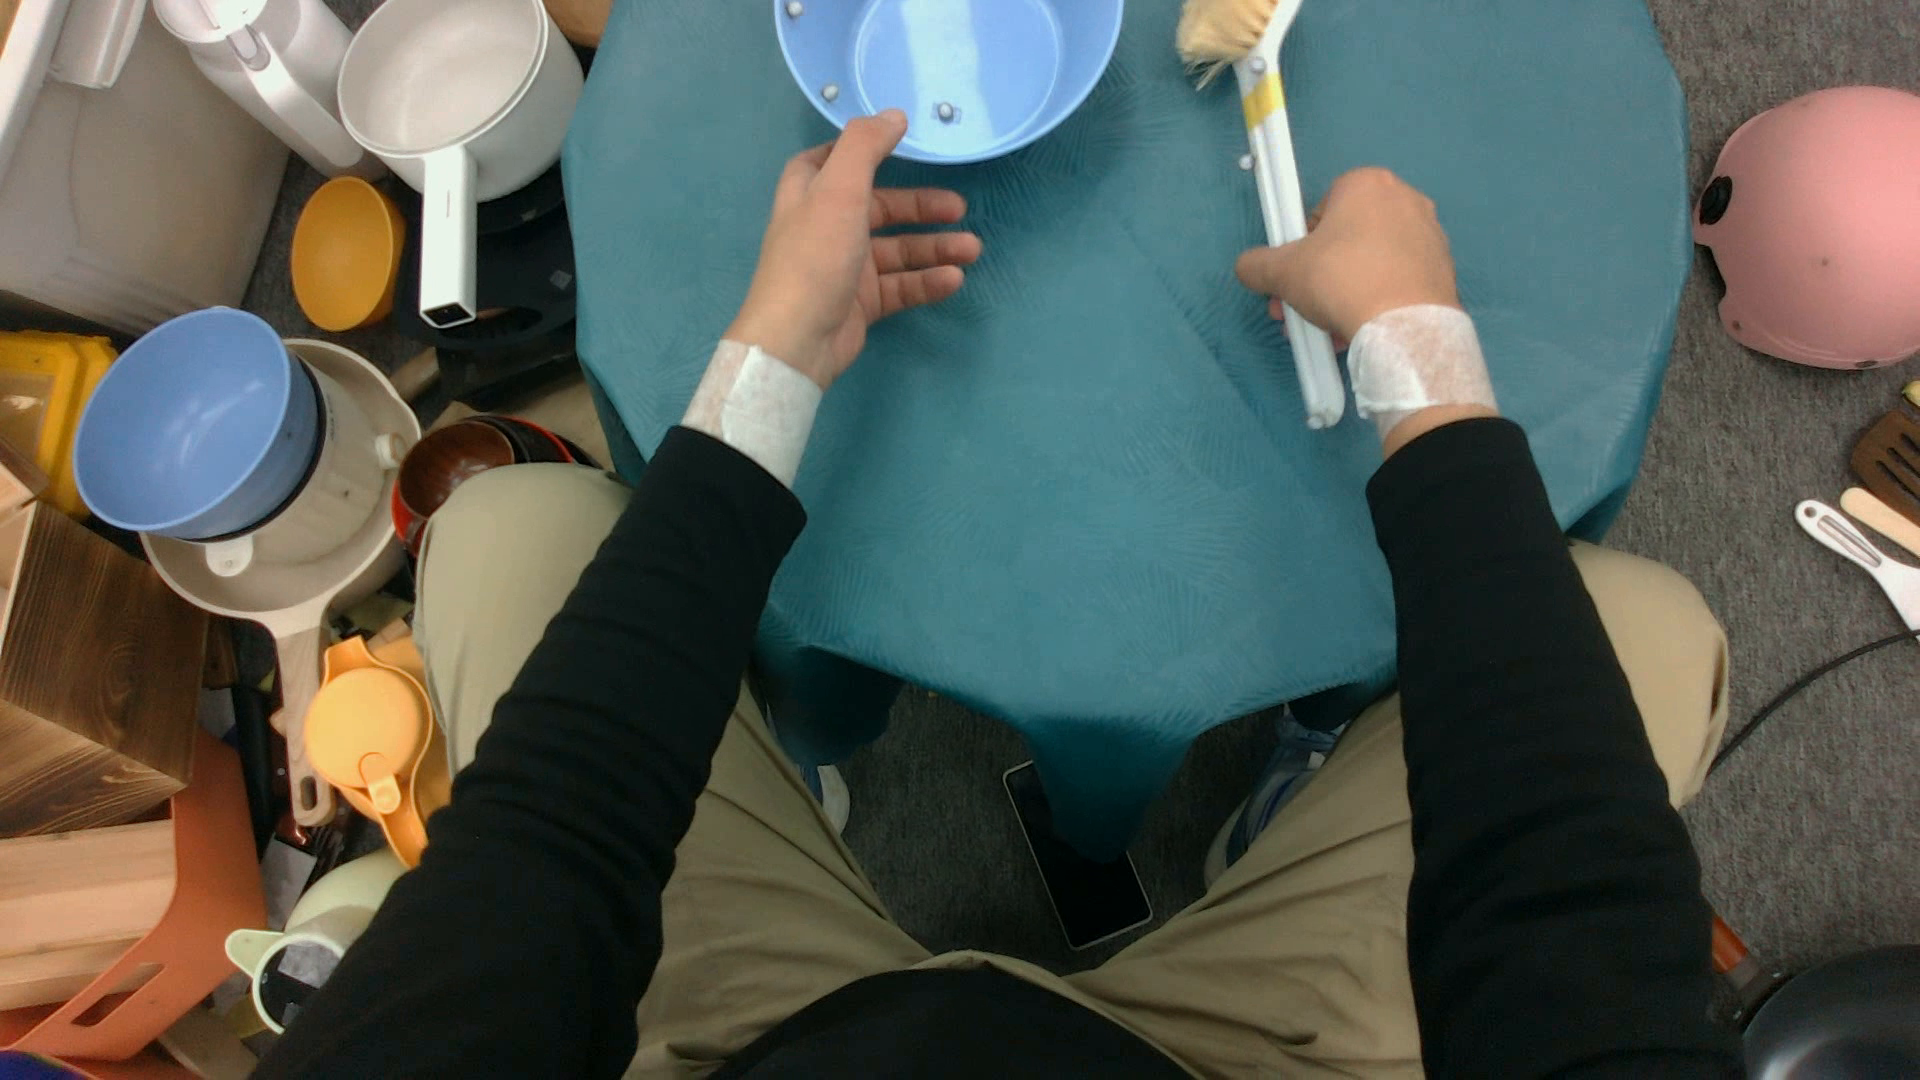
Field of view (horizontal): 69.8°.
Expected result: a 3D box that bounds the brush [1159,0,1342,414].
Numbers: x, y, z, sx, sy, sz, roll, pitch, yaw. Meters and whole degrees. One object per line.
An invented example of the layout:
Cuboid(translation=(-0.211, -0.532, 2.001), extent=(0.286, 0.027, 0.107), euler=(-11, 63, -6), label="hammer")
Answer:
Cuboid(translation=(0.143, -0.189, 0.700), extent=(0.056, 0.068, 0.267), euler=(-8, 79, -1), label="brush")

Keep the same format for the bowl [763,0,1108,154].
Cuboid(translation=(-0.011, -0.274, 0.725), extent=(0.176, 0.070, 0.176), euler=(0, 81, 3), label="bowl")
